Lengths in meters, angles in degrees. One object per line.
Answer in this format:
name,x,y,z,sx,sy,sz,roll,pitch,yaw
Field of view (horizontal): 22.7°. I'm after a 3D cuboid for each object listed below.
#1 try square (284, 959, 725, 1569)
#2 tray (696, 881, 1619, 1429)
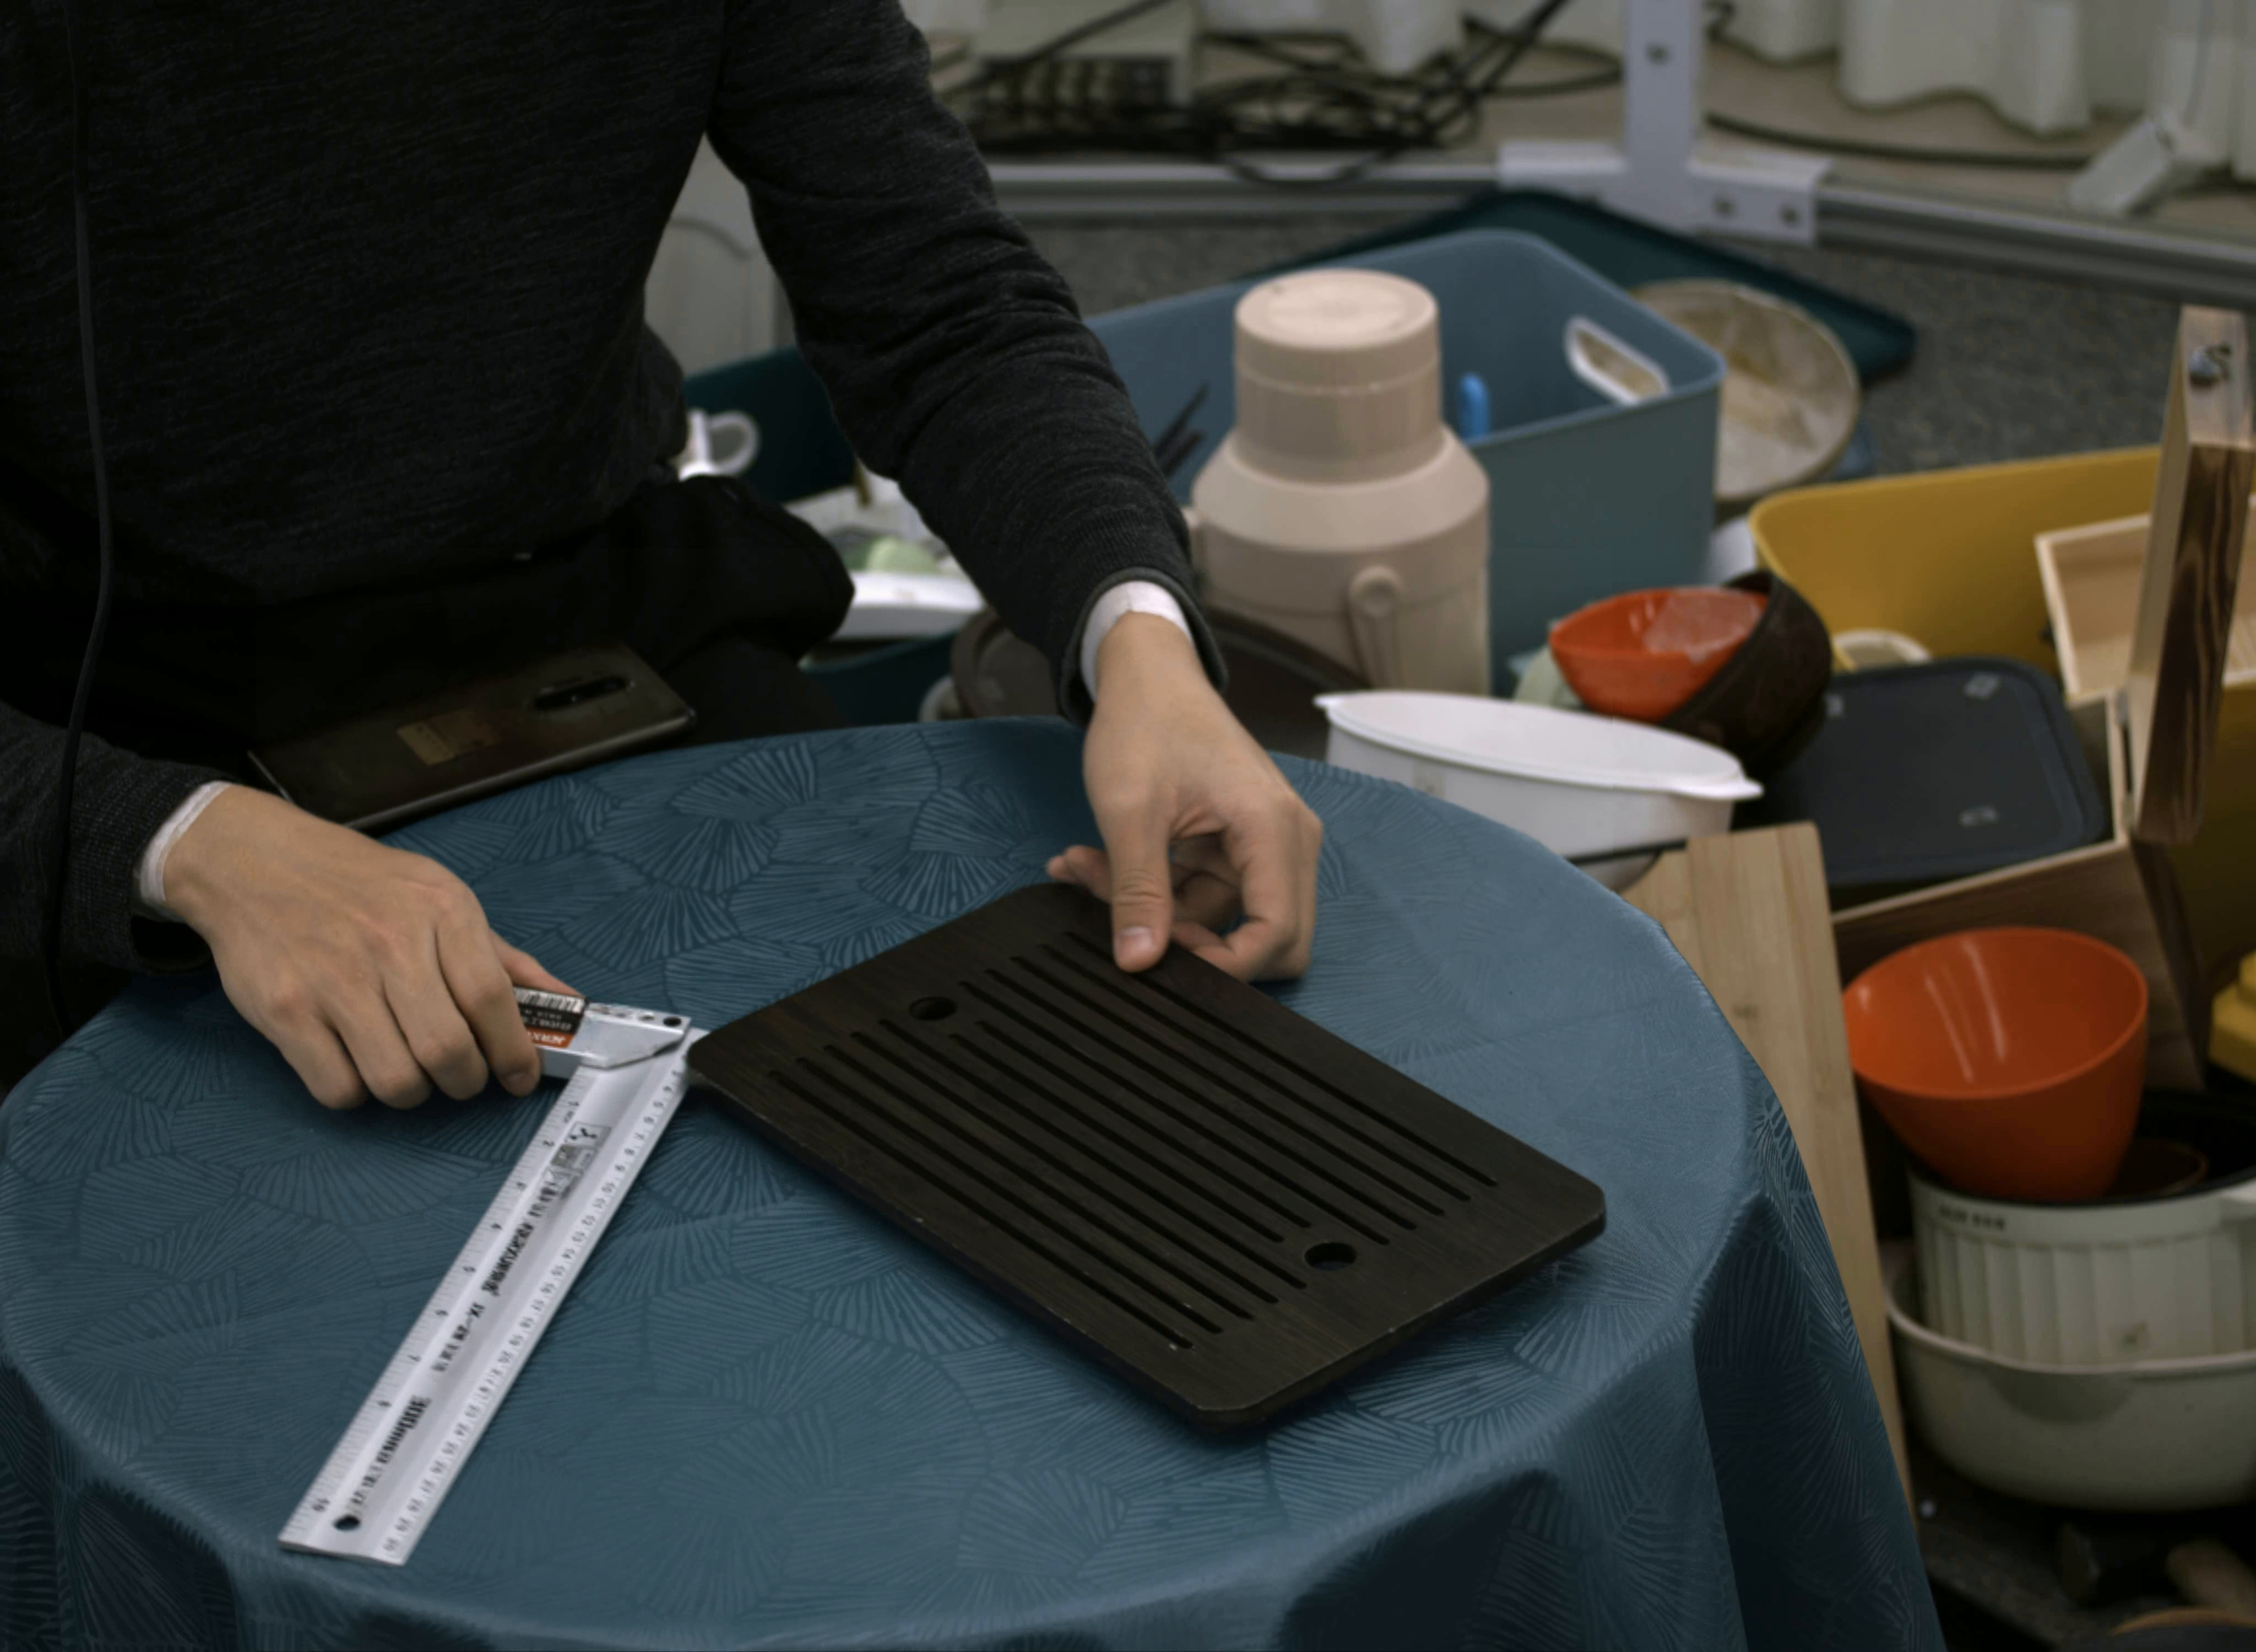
try square,-0.249,0.137,1.833,0.151,0.015,0.318,9,30,11
tray,0.005,0.105,1.867,0.172,0.018,0.306,-24,34,-30
